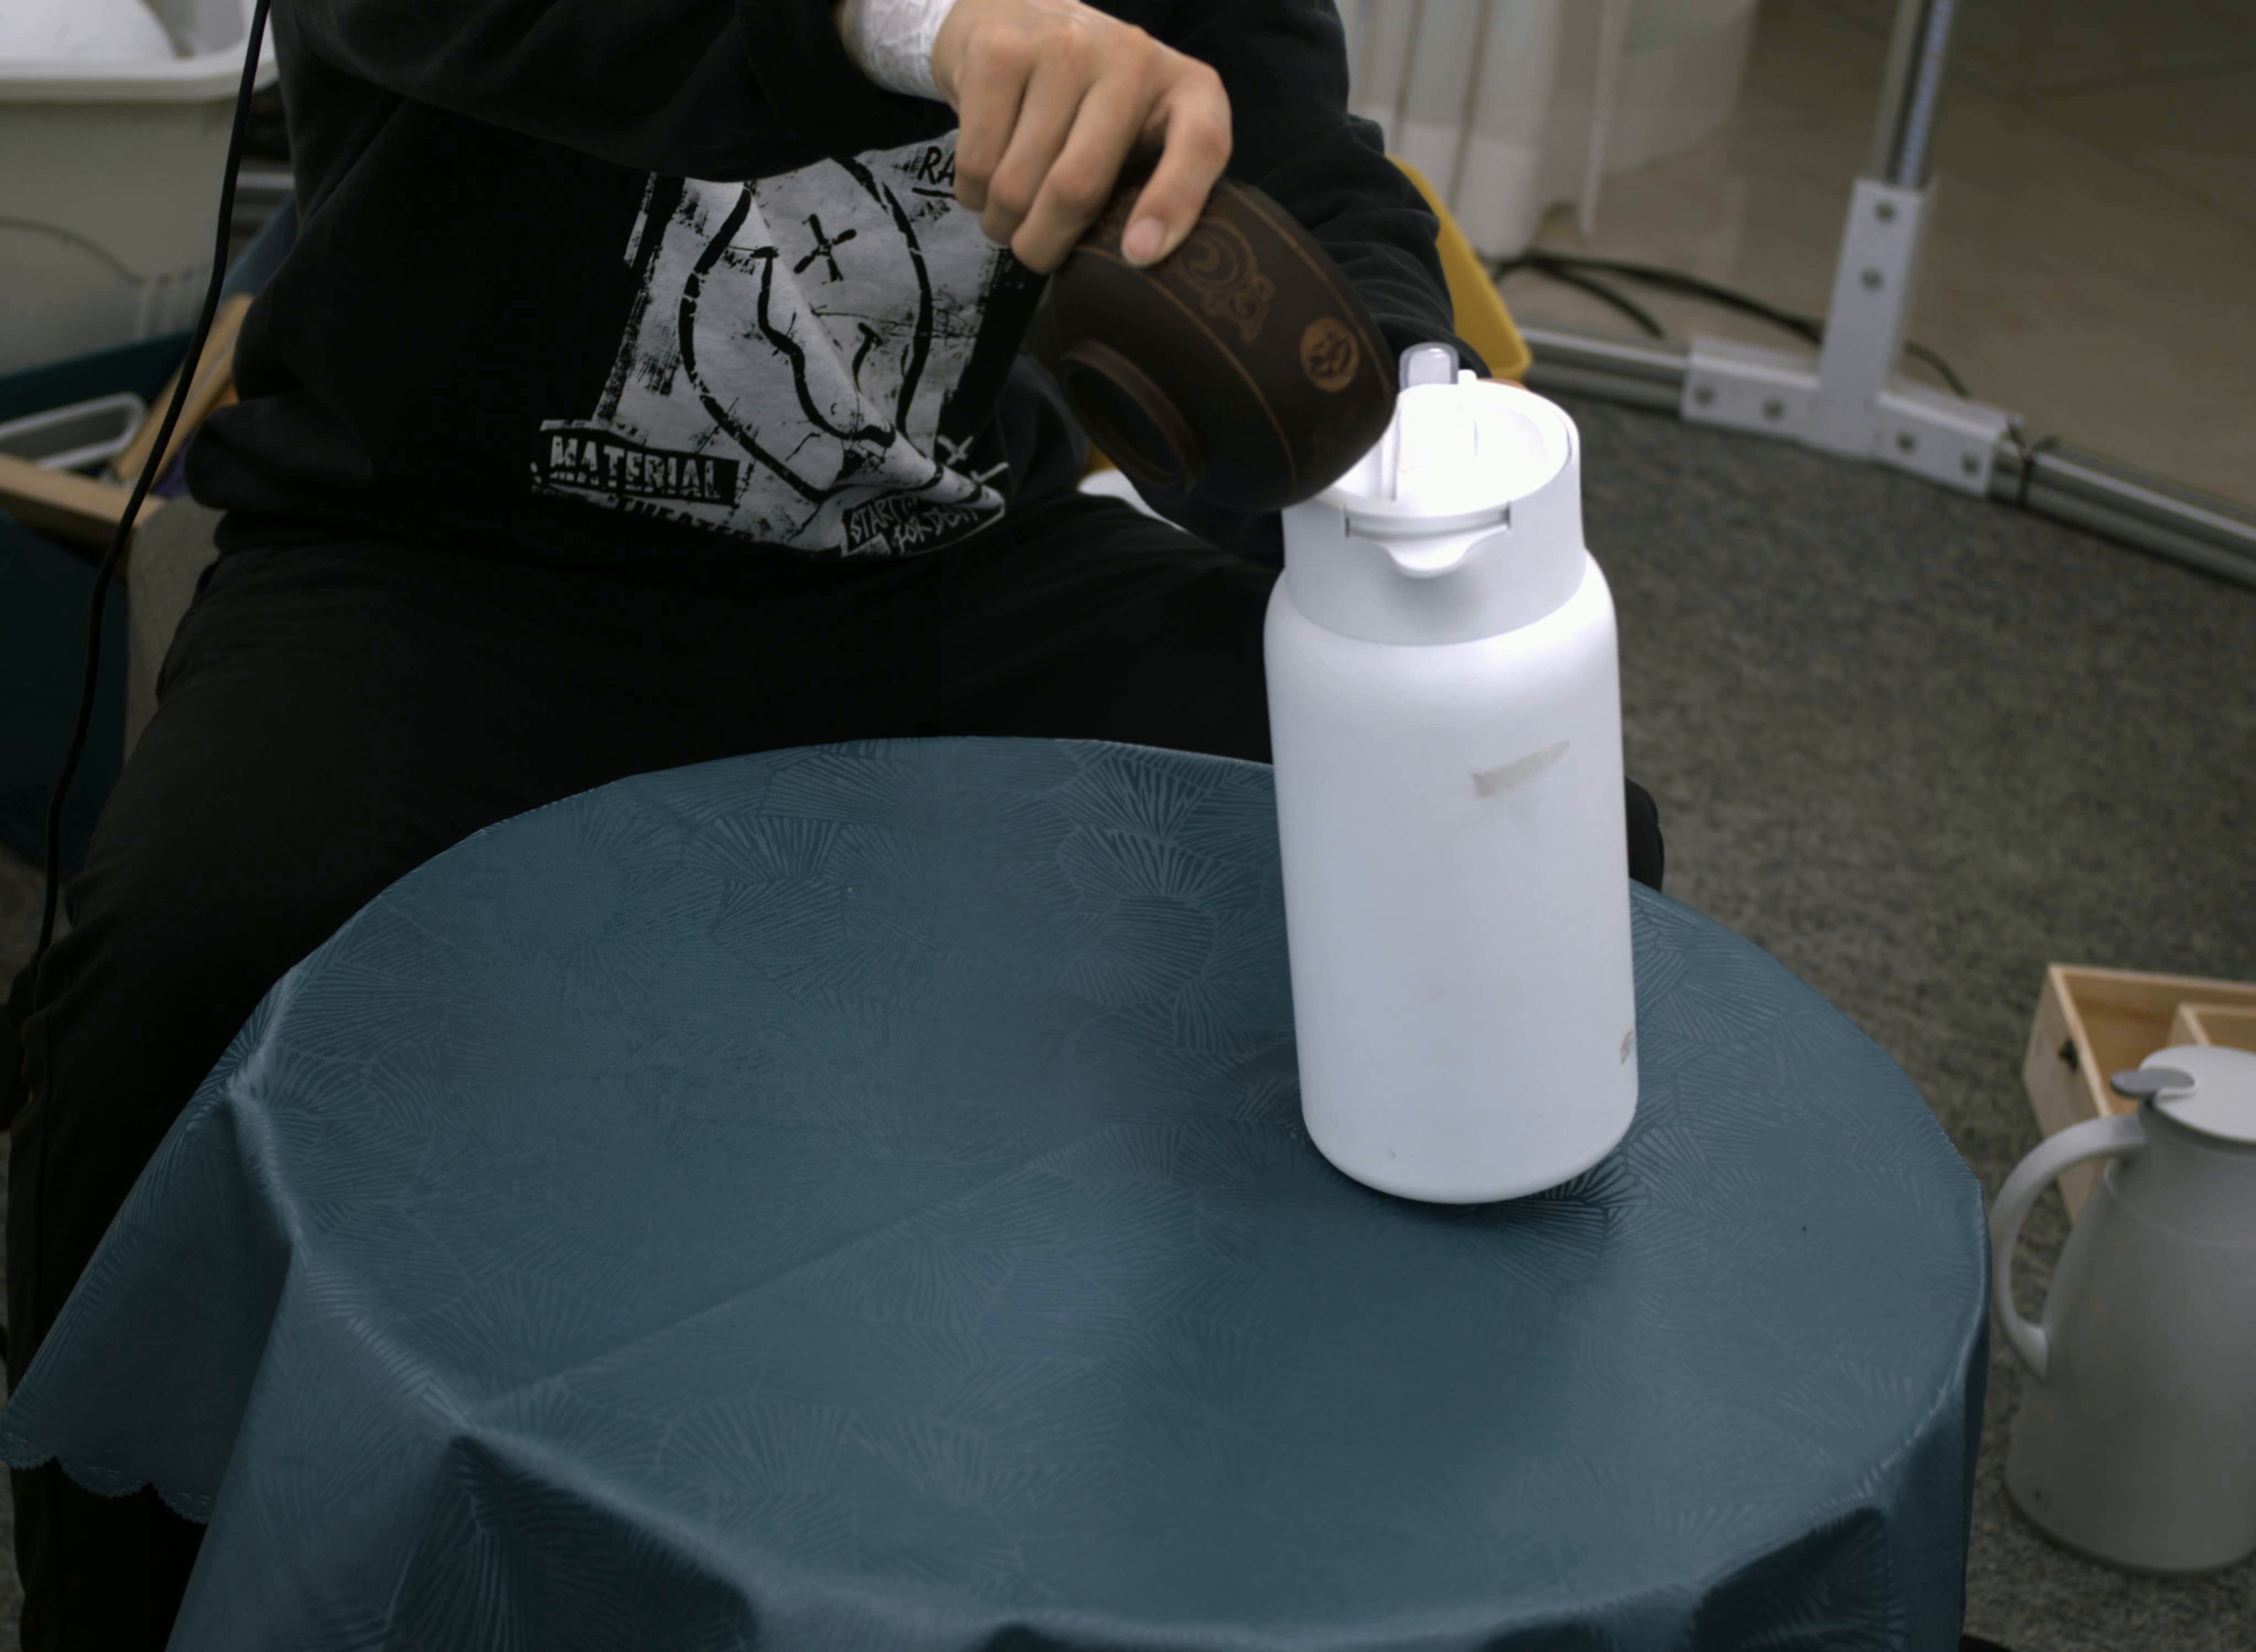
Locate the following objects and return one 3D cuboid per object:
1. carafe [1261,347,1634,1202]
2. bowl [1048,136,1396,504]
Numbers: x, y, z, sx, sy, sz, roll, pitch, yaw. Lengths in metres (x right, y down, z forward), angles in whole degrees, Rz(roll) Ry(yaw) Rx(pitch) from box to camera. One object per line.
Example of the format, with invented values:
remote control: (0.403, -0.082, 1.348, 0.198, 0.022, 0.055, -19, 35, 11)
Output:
carafe: (0.106, -0.021, 1.803, 0.123, 0.267, 0.174, -5, 30, 5)
bowl: (0.020, -0.149, 1.662, 0.070, 0.117, 0.119, -42, 46, -15)
